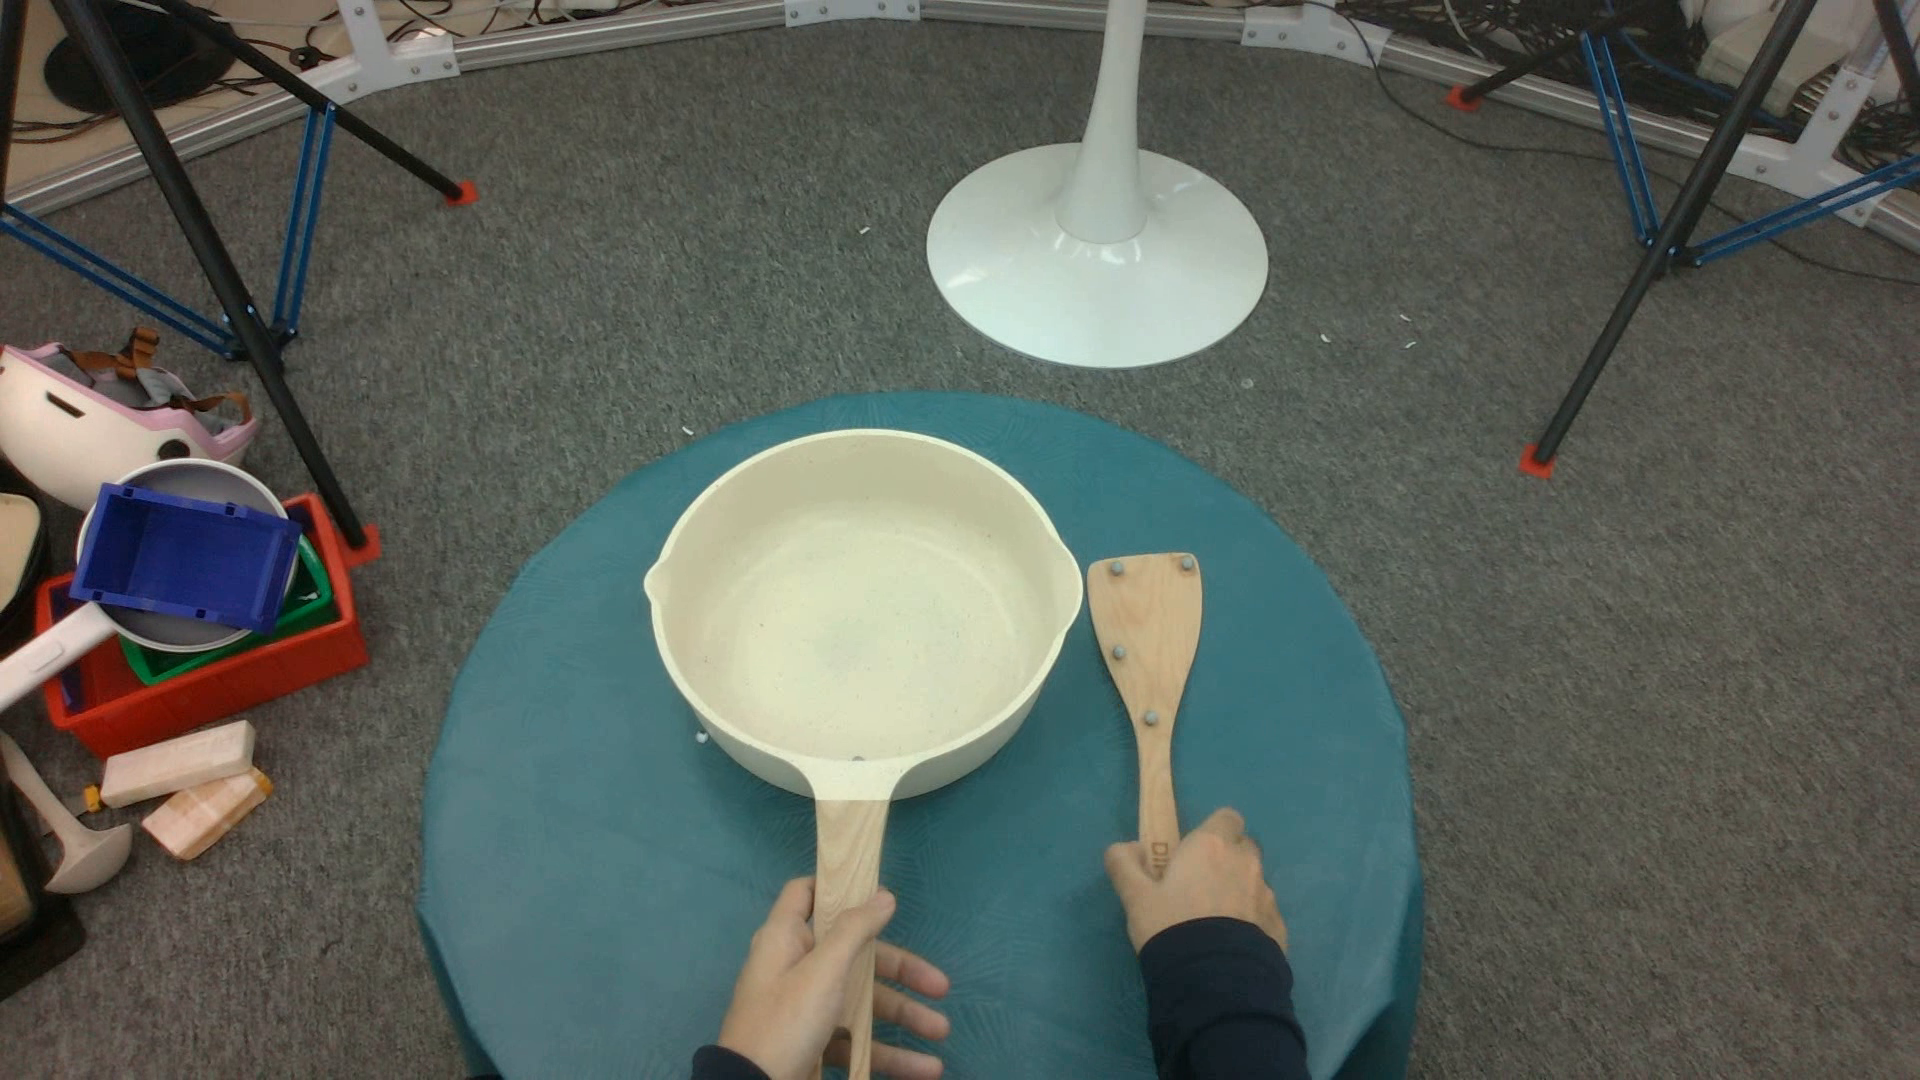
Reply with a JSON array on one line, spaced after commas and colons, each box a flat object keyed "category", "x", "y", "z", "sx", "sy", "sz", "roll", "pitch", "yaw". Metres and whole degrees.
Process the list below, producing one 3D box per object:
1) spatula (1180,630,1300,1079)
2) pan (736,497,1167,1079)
[{"category": "spatula", "x": 0.174, "y": 0.169, "z": 0.824, "sx": 0.080, "sy": 0.016, "sz": 0.329, "roll": 4, "pitch": 39, "yaw": 5}, {"category": "pan", "x": -0.009, "y": 0.159, "z": 0.803, "sx": 0.263, "sy": 0.101, "sz": 0.437, "roll": 2, "pitch": 50, "yaw": 2}]
